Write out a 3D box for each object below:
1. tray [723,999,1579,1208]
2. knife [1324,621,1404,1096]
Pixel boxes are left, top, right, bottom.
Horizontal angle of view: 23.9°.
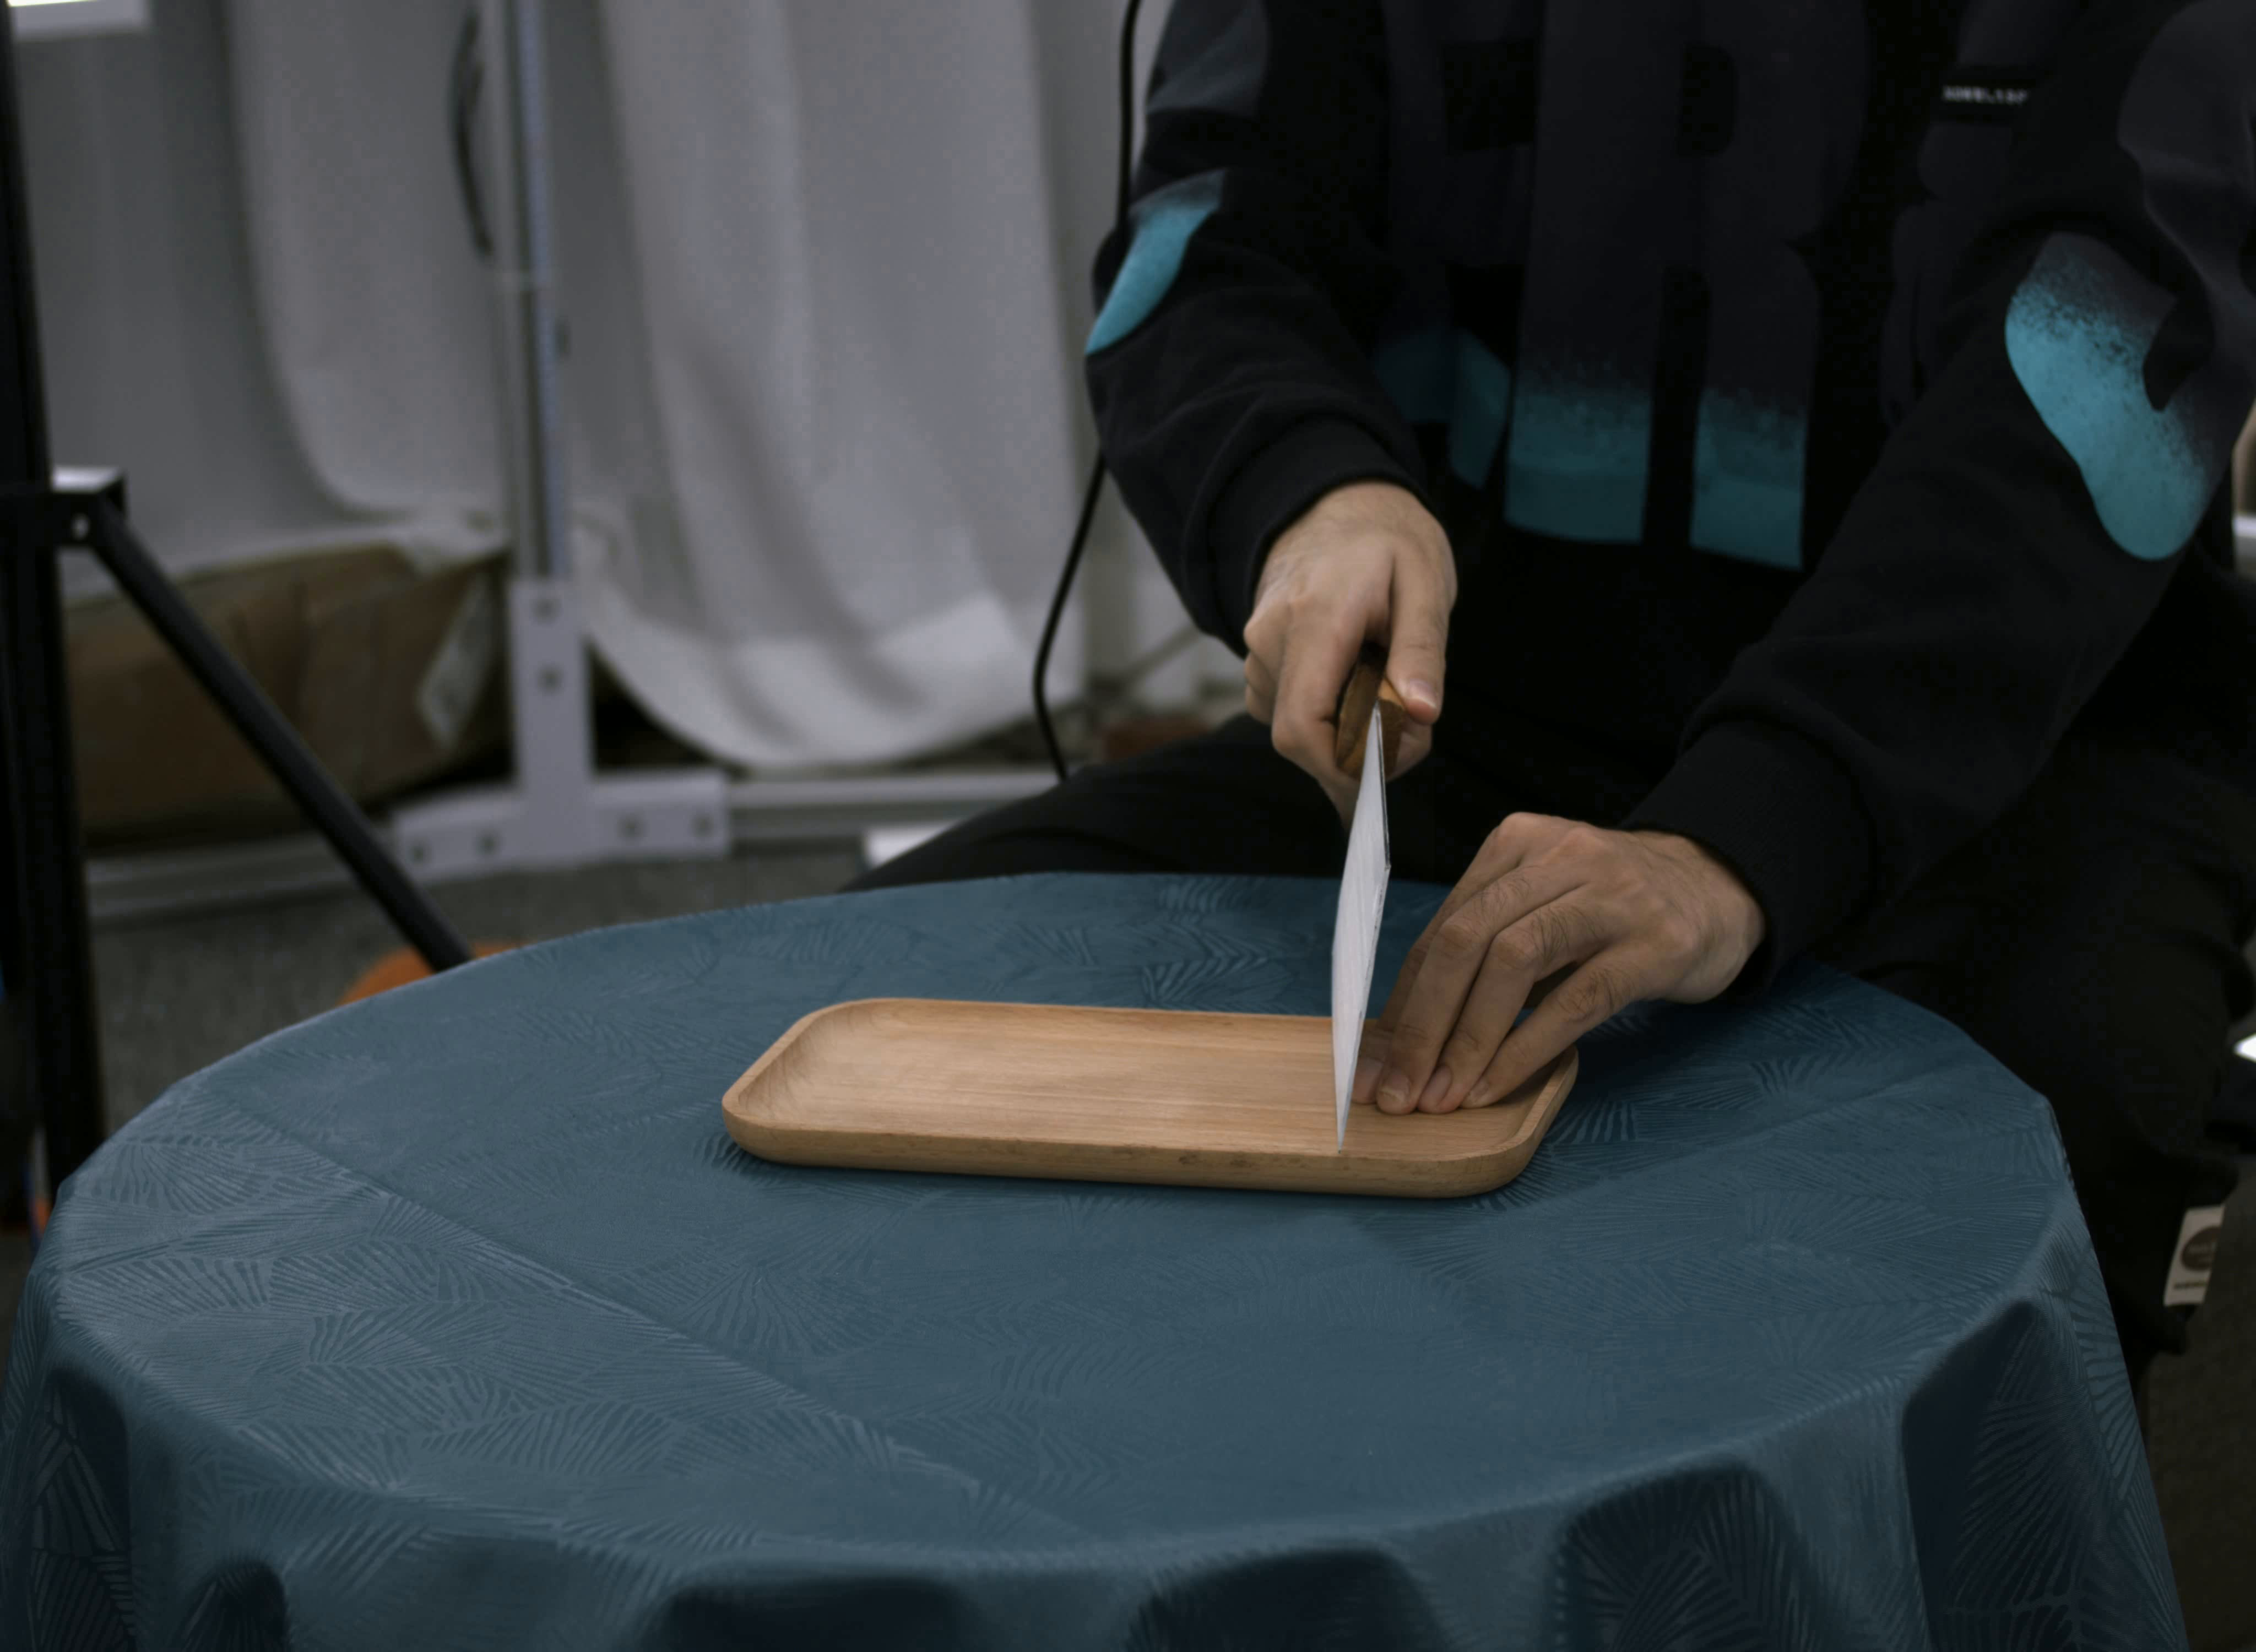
[{"bbox_3d":[0.008,0.084,1.616,0.253,0.023,0.129,4,19,18],"label":"tray"},{"bbox_3d":[0.071,0.009,1.663,0.021,0.093,0.306,8,16,-1],"label":"knife"}]
